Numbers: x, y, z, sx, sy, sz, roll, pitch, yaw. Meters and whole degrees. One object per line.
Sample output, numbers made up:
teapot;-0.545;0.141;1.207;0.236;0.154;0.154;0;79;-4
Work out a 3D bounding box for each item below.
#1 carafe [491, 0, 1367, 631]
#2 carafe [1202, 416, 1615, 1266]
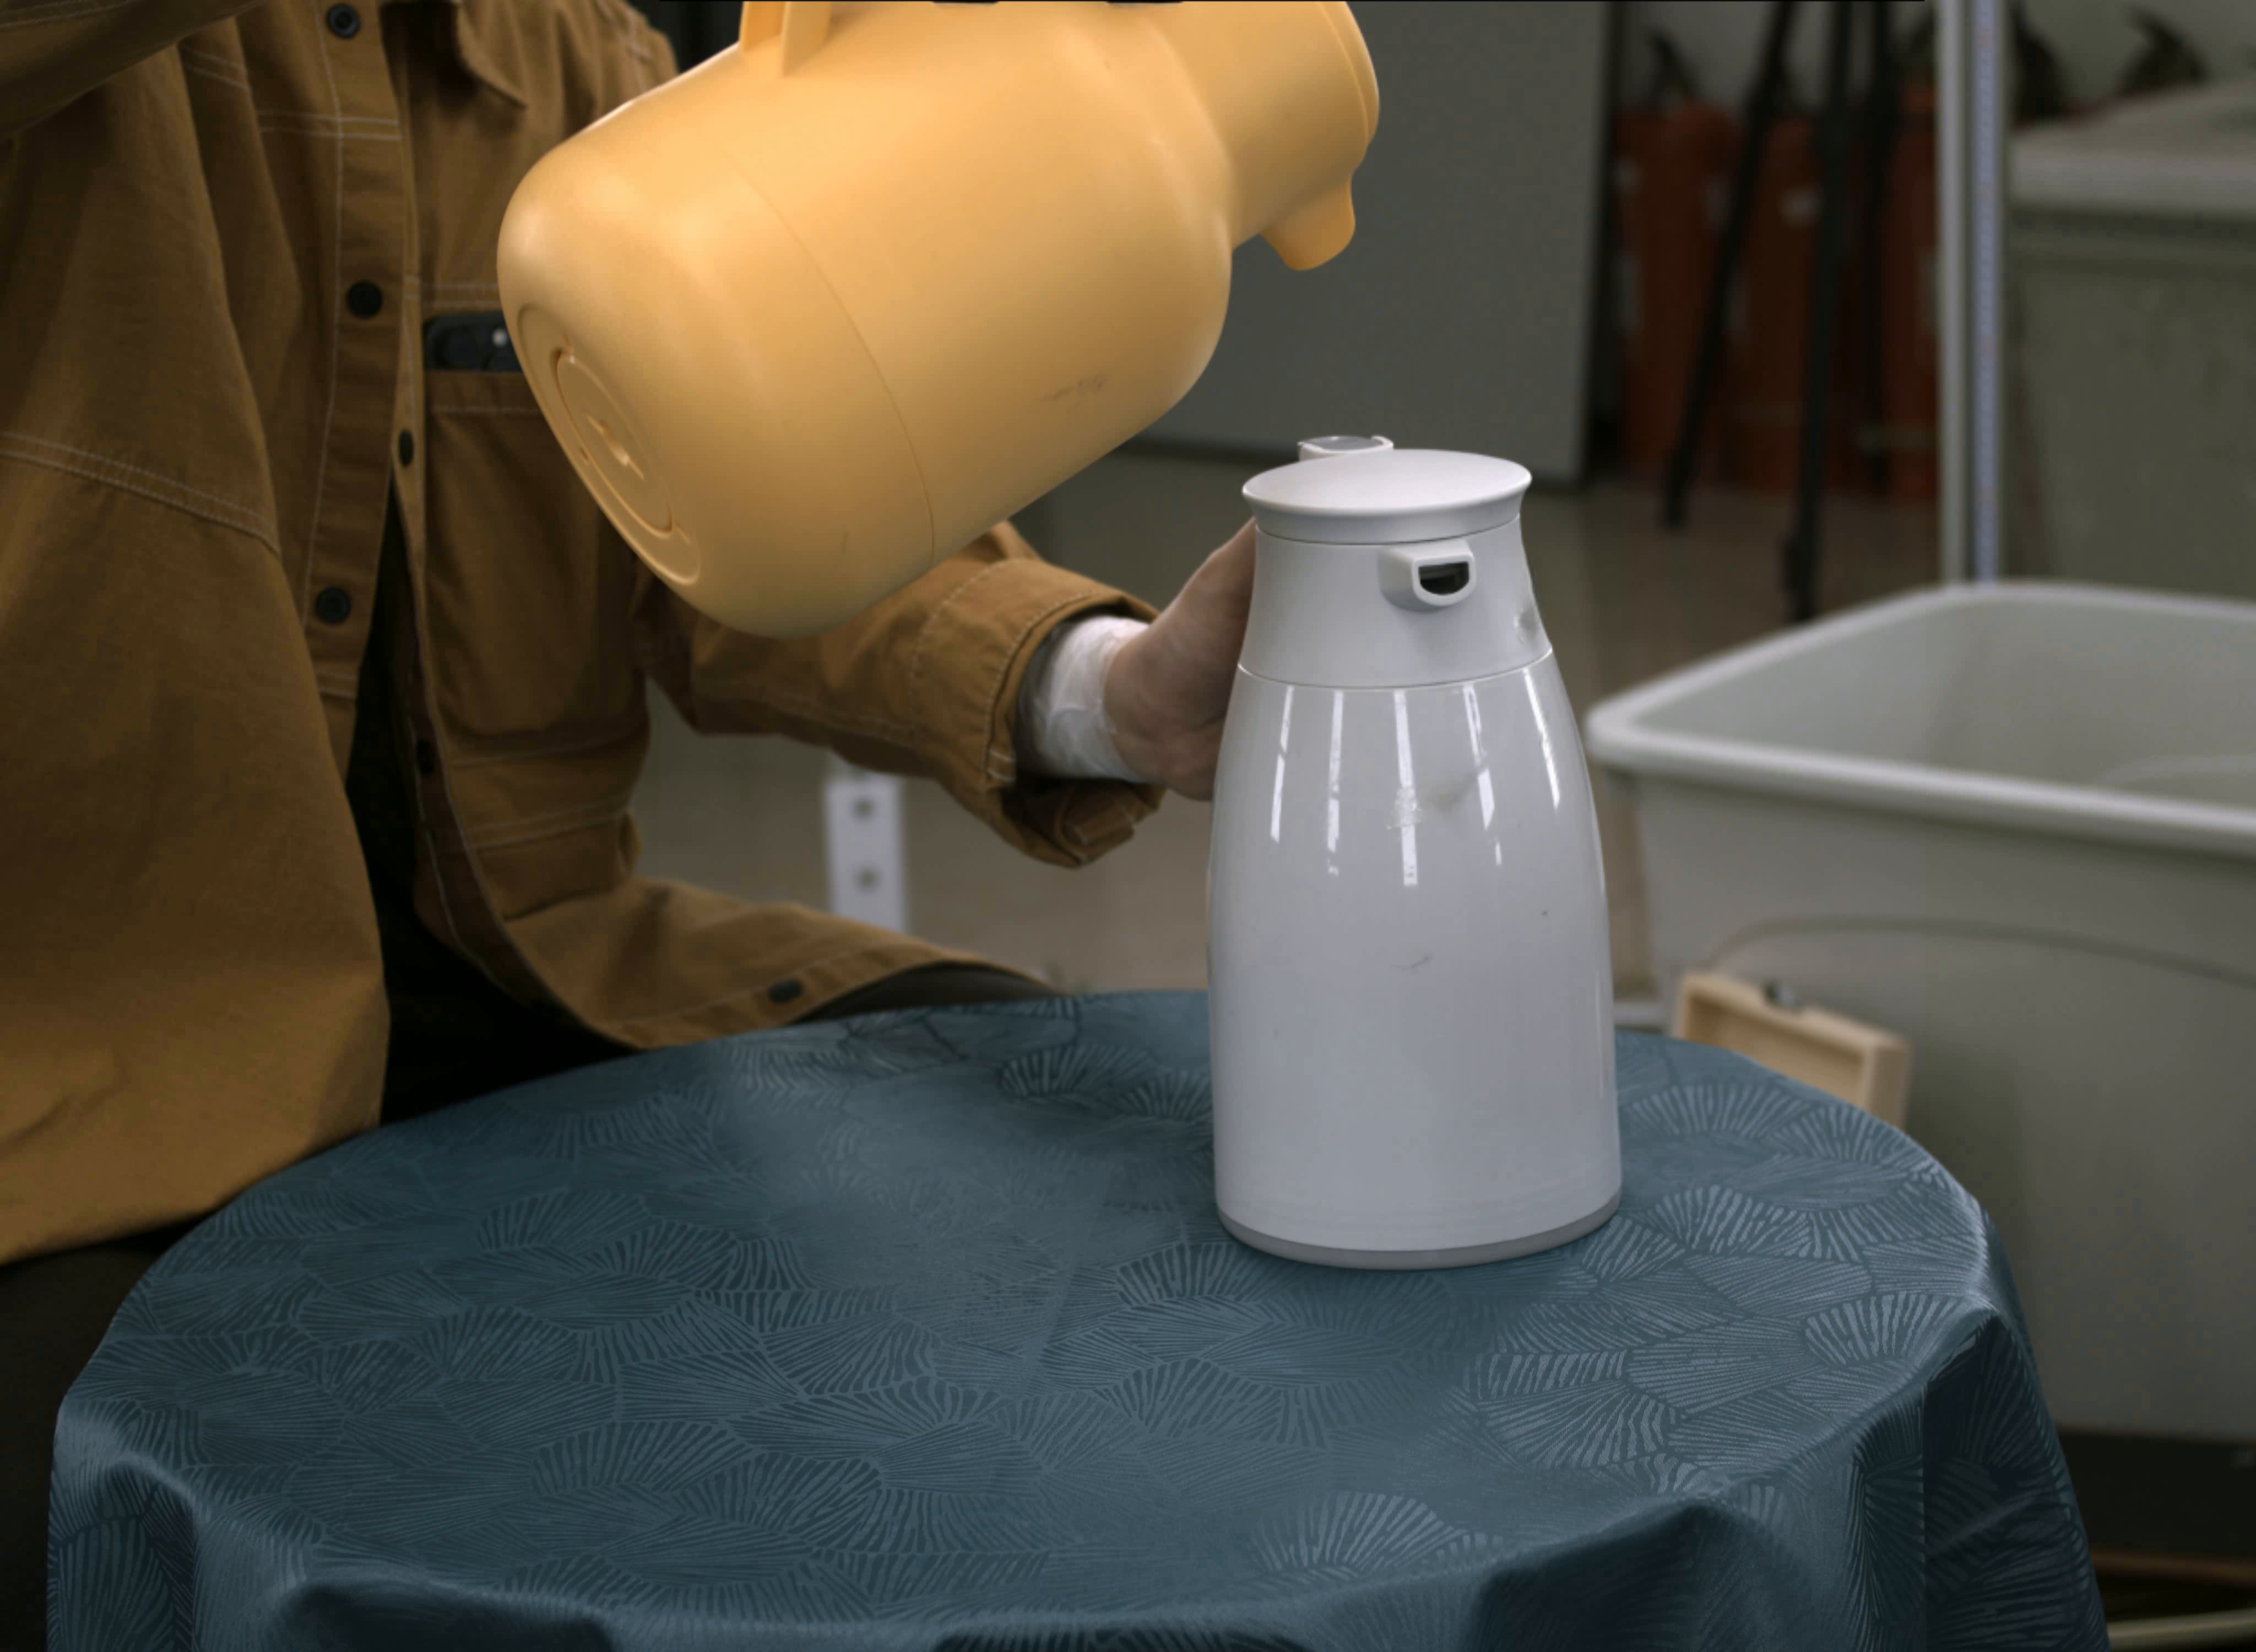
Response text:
carafe;-0.058;-0.199;1.589;0.257;0.202;0.165;-35;32;-18
carafe;0.080;-0.003;1.729;0.130;0.251;0.169;-7;13;-12
